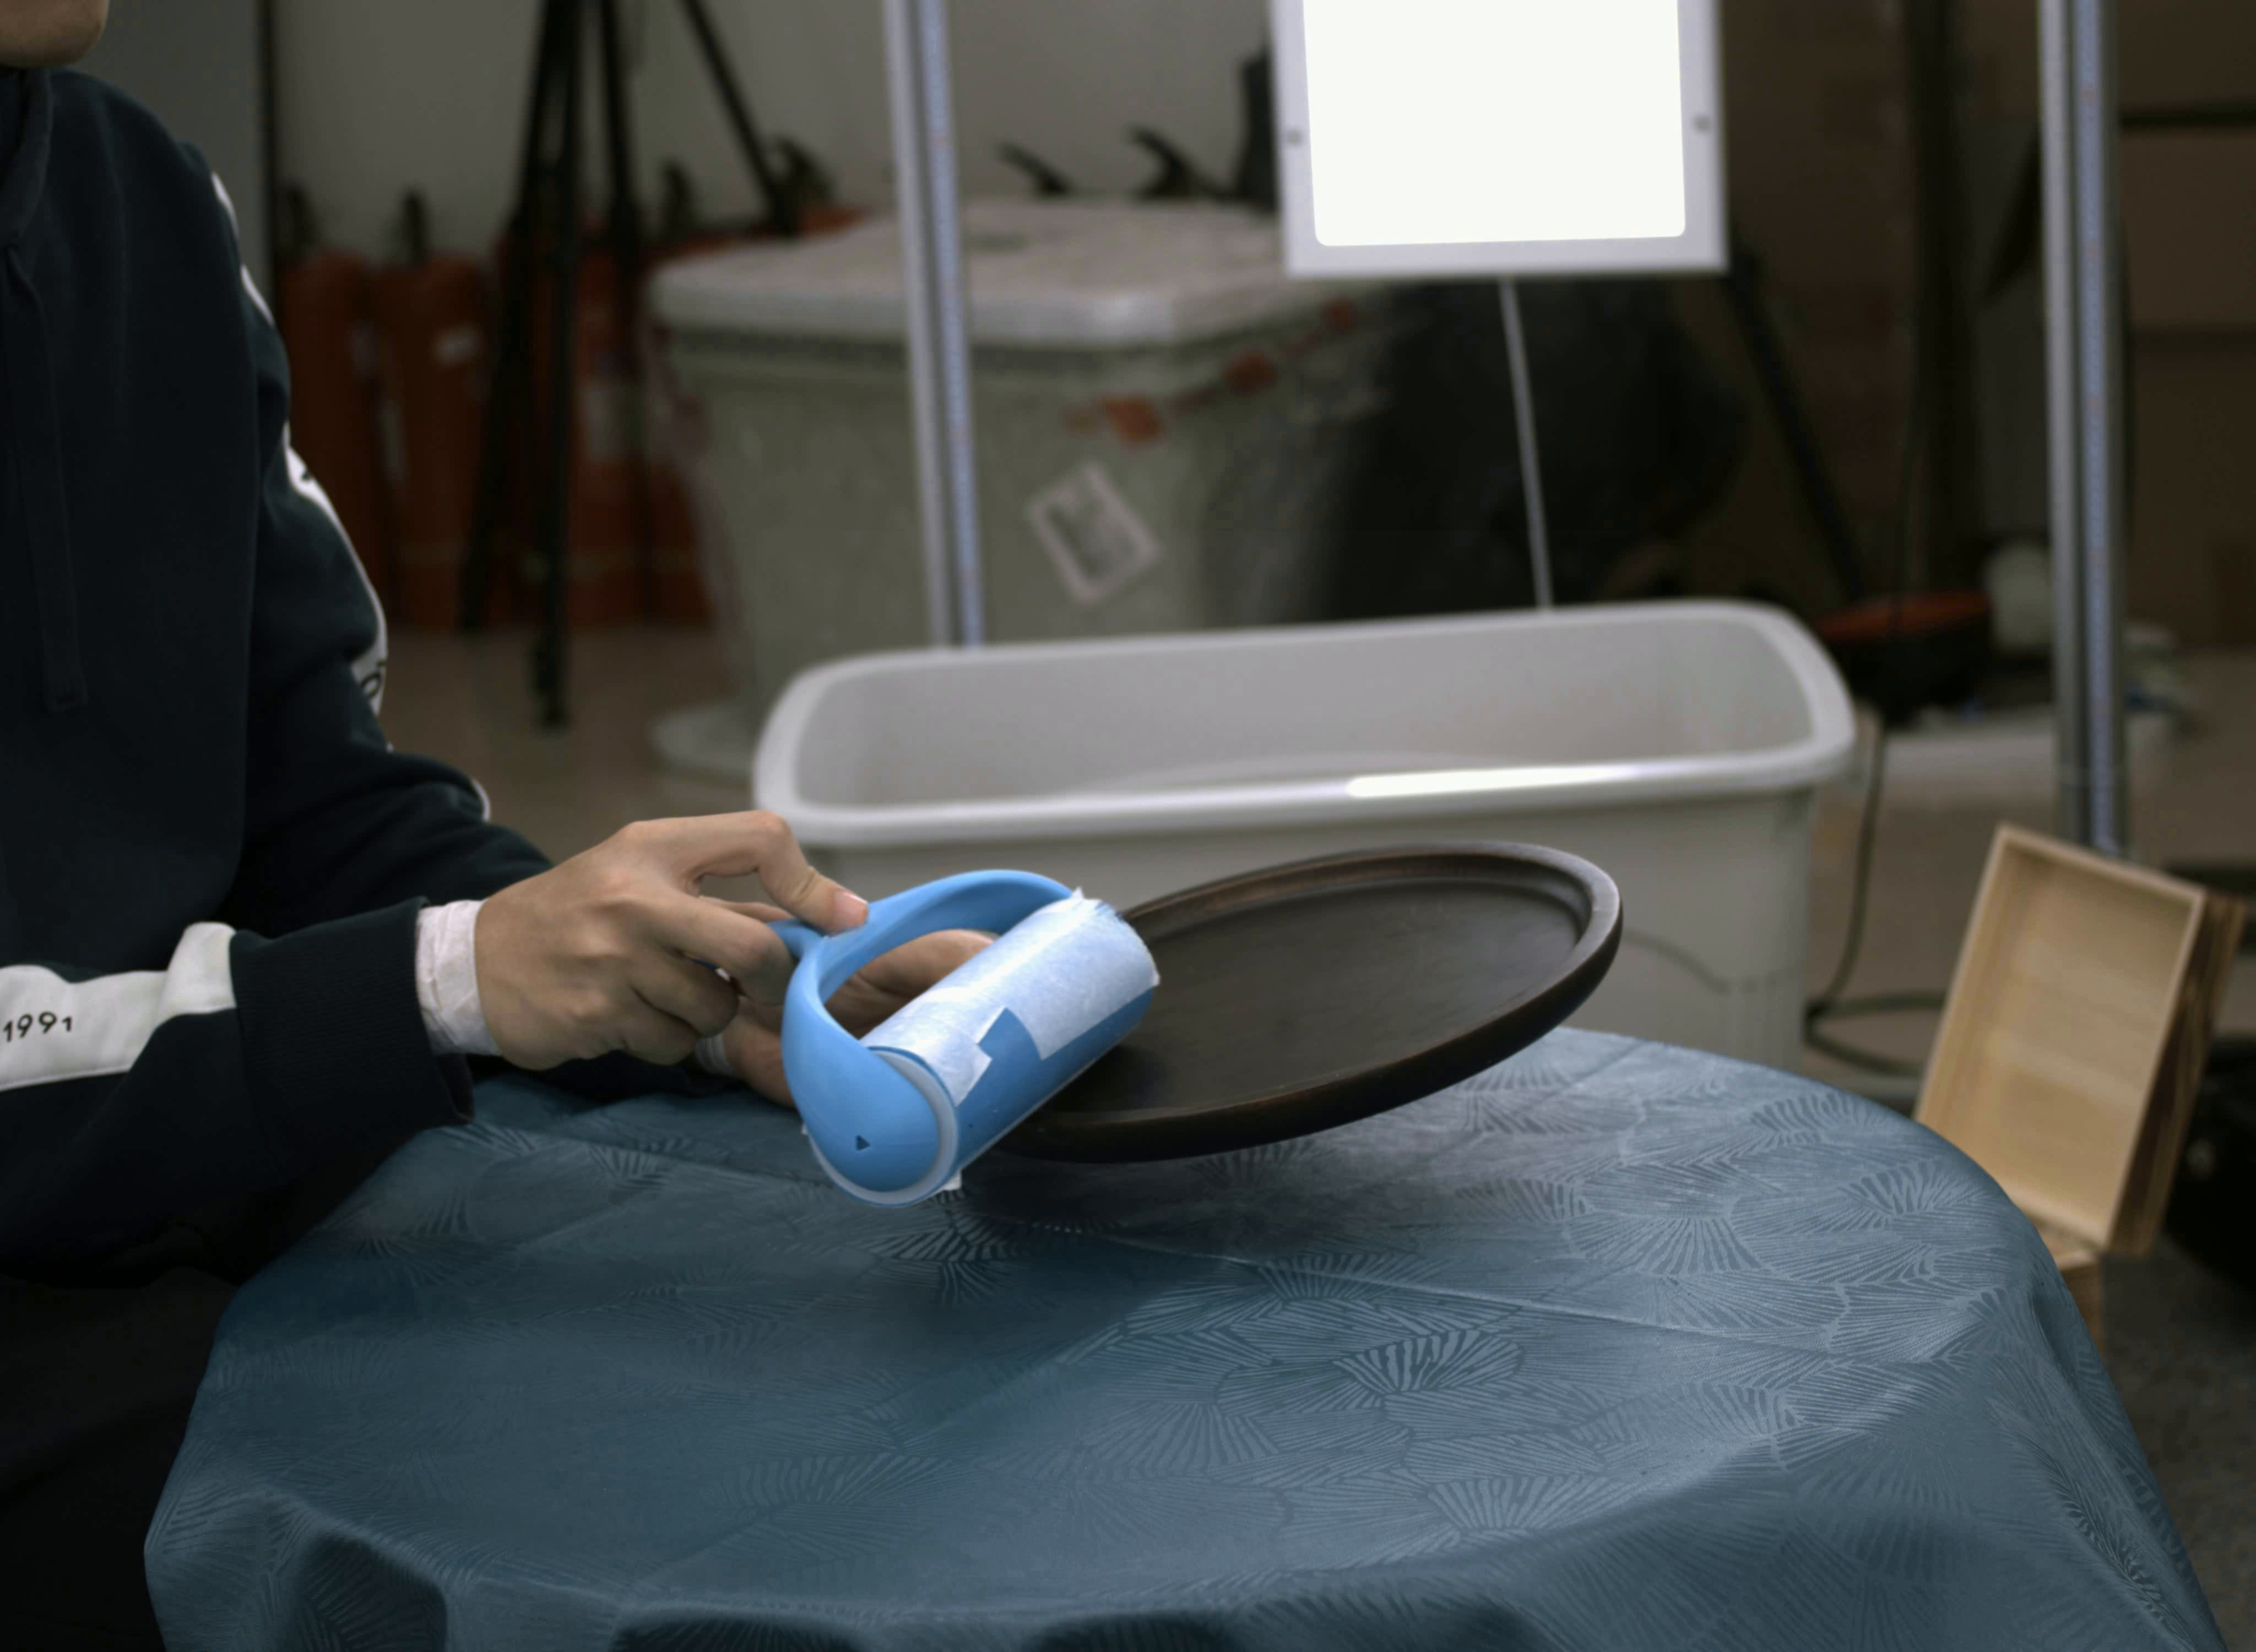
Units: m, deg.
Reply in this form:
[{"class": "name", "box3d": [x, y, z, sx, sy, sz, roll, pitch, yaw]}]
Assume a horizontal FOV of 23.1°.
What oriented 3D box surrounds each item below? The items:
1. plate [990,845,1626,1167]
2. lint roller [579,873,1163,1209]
[{"class": "plate", "box3d": [0.052, 0.061, 1.908, 0.255, 0.029, 0.254, -15, 15, 2]}, {"class": "lint roller", "box3d": [-0.099, 0.064, 1.839, 0.182, 0.068, 0.225, 8, 17, 16]}]
